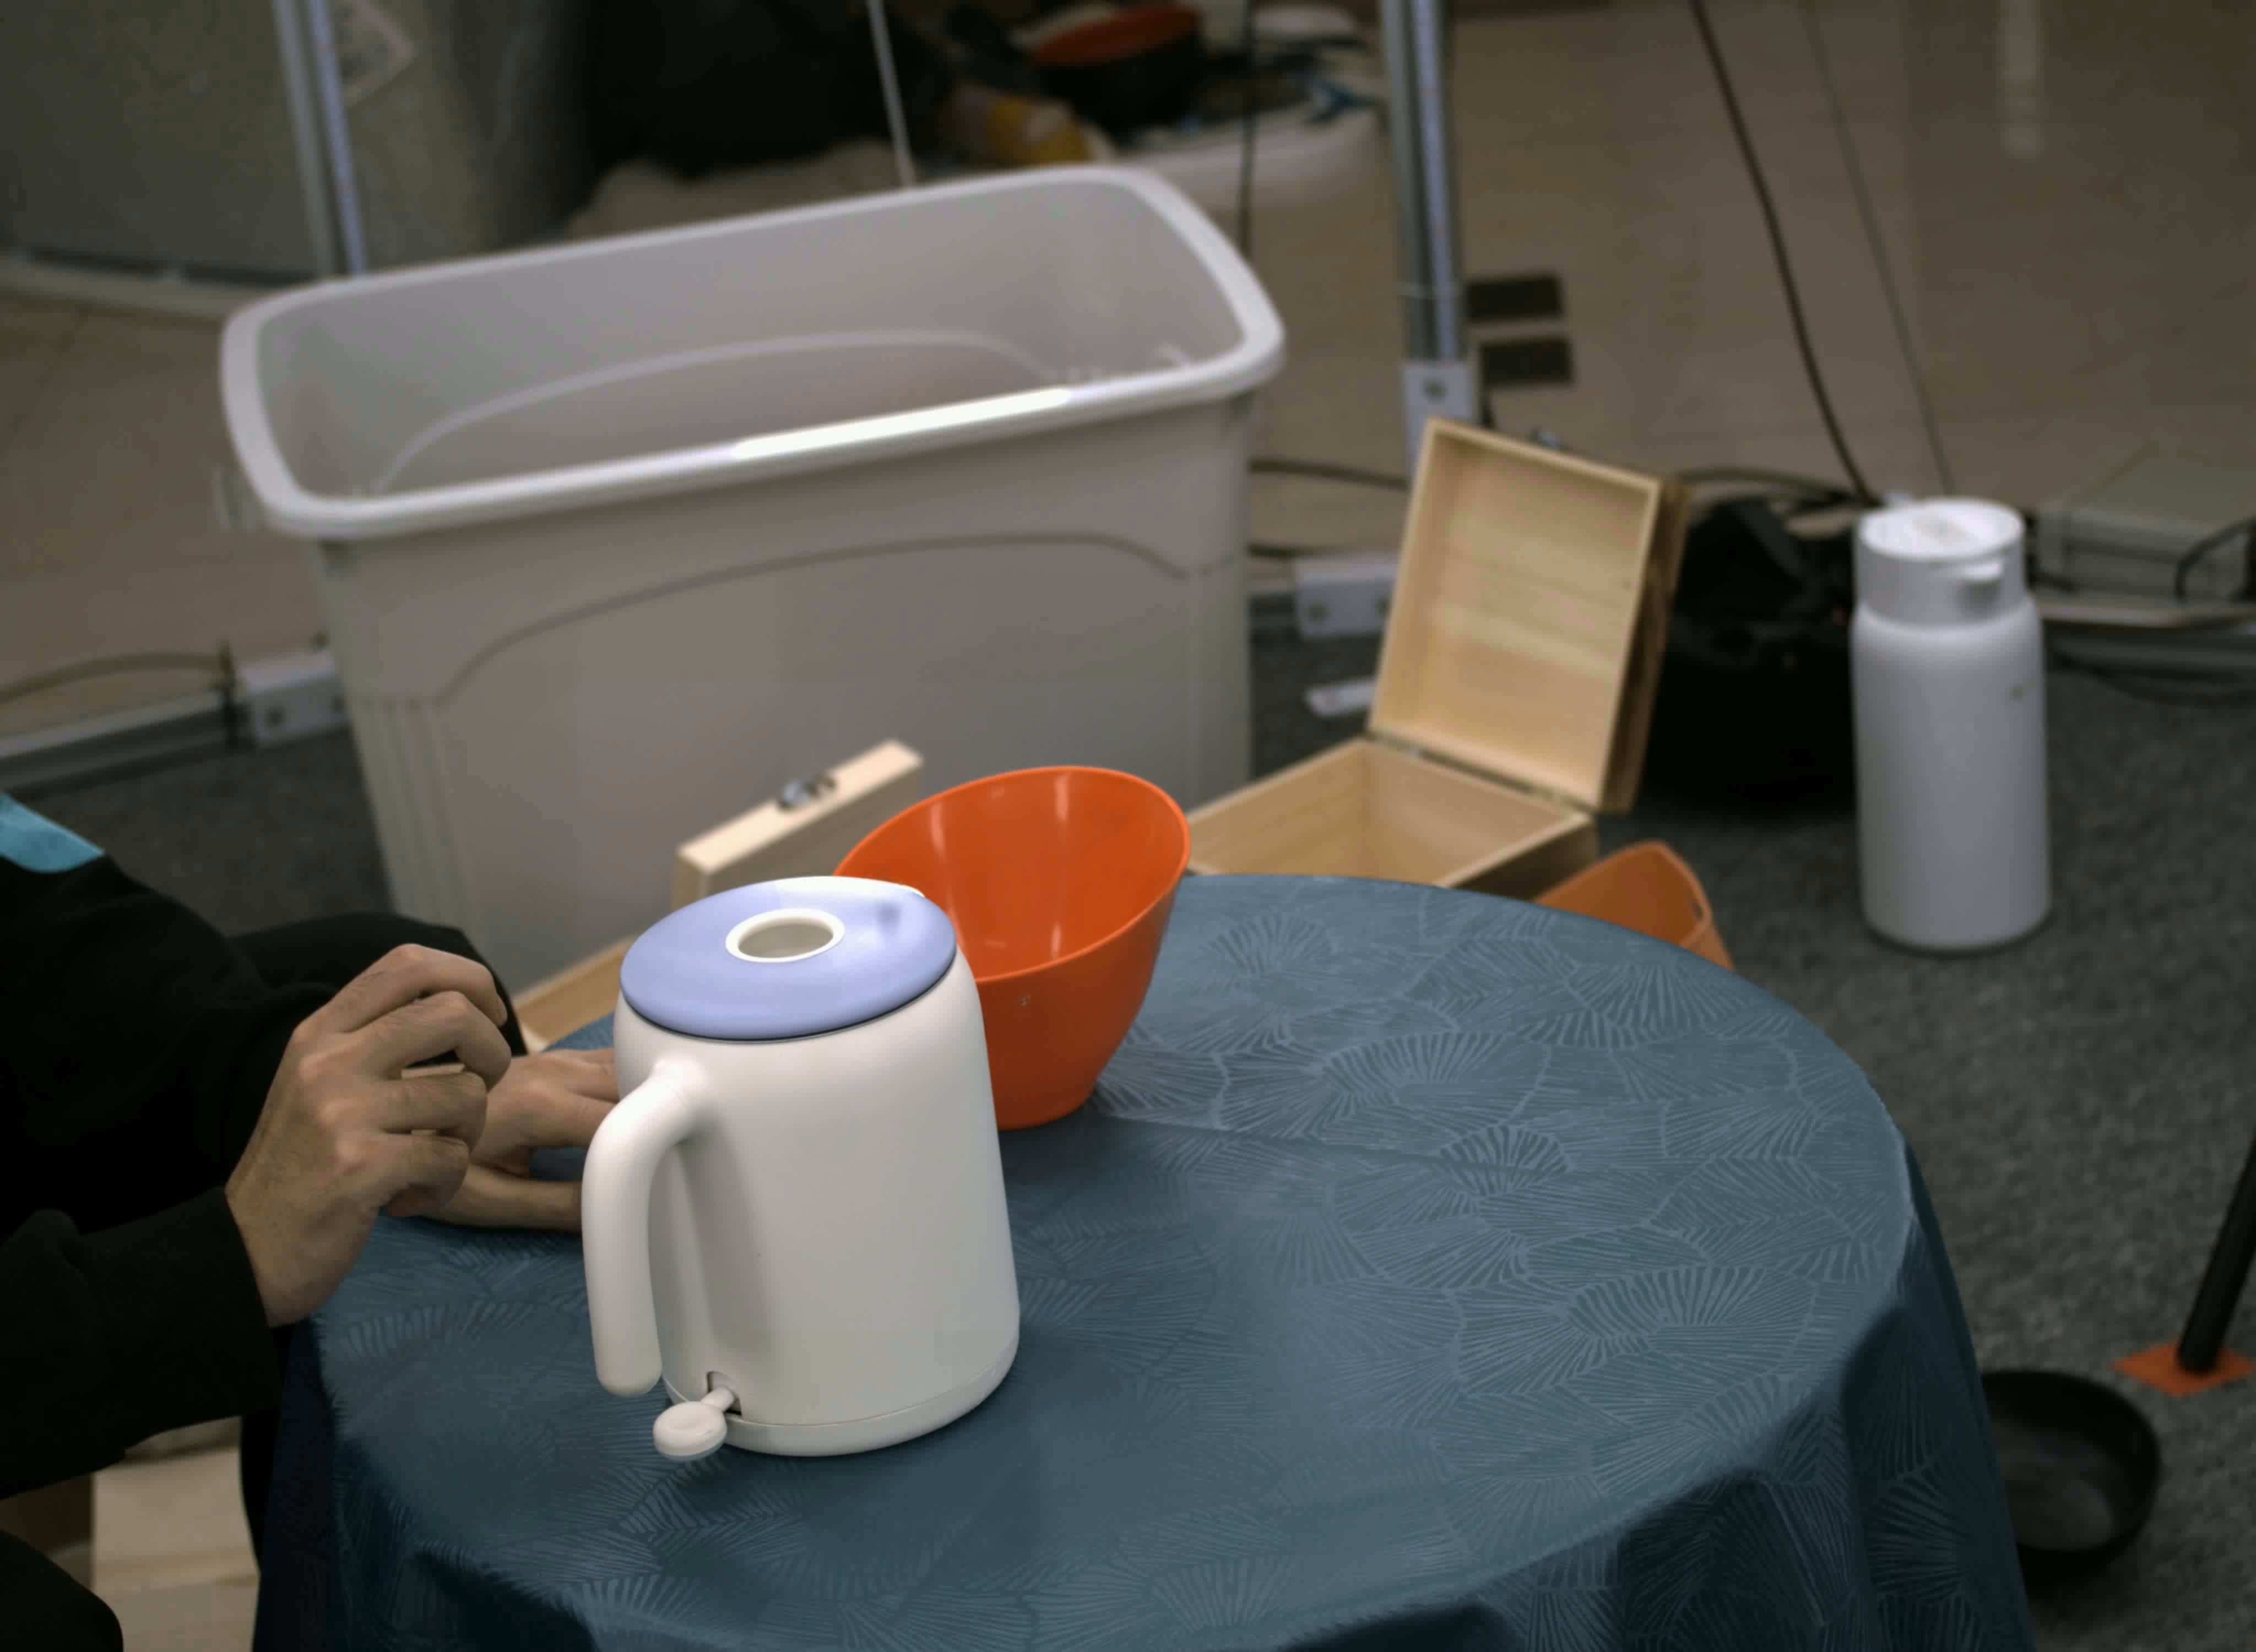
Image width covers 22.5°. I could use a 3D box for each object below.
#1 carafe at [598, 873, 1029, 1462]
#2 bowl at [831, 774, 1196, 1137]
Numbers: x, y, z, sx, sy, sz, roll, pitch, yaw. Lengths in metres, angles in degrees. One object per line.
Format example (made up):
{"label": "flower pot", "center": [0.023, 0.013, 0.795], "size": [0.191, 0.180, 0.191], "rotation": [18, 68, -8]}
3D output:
{"label": "carafe", "center": [-0.122, 0.130, 1.991], "size": [0.131, 0.185, 0.189], "rotation": [10, 33, 33]}
{"label": "bowl", "center": [-0.042, 0.056, 2.211], "size": [0.148, 0.106, 0.146], "rotation": [-5, 25, 2]}
